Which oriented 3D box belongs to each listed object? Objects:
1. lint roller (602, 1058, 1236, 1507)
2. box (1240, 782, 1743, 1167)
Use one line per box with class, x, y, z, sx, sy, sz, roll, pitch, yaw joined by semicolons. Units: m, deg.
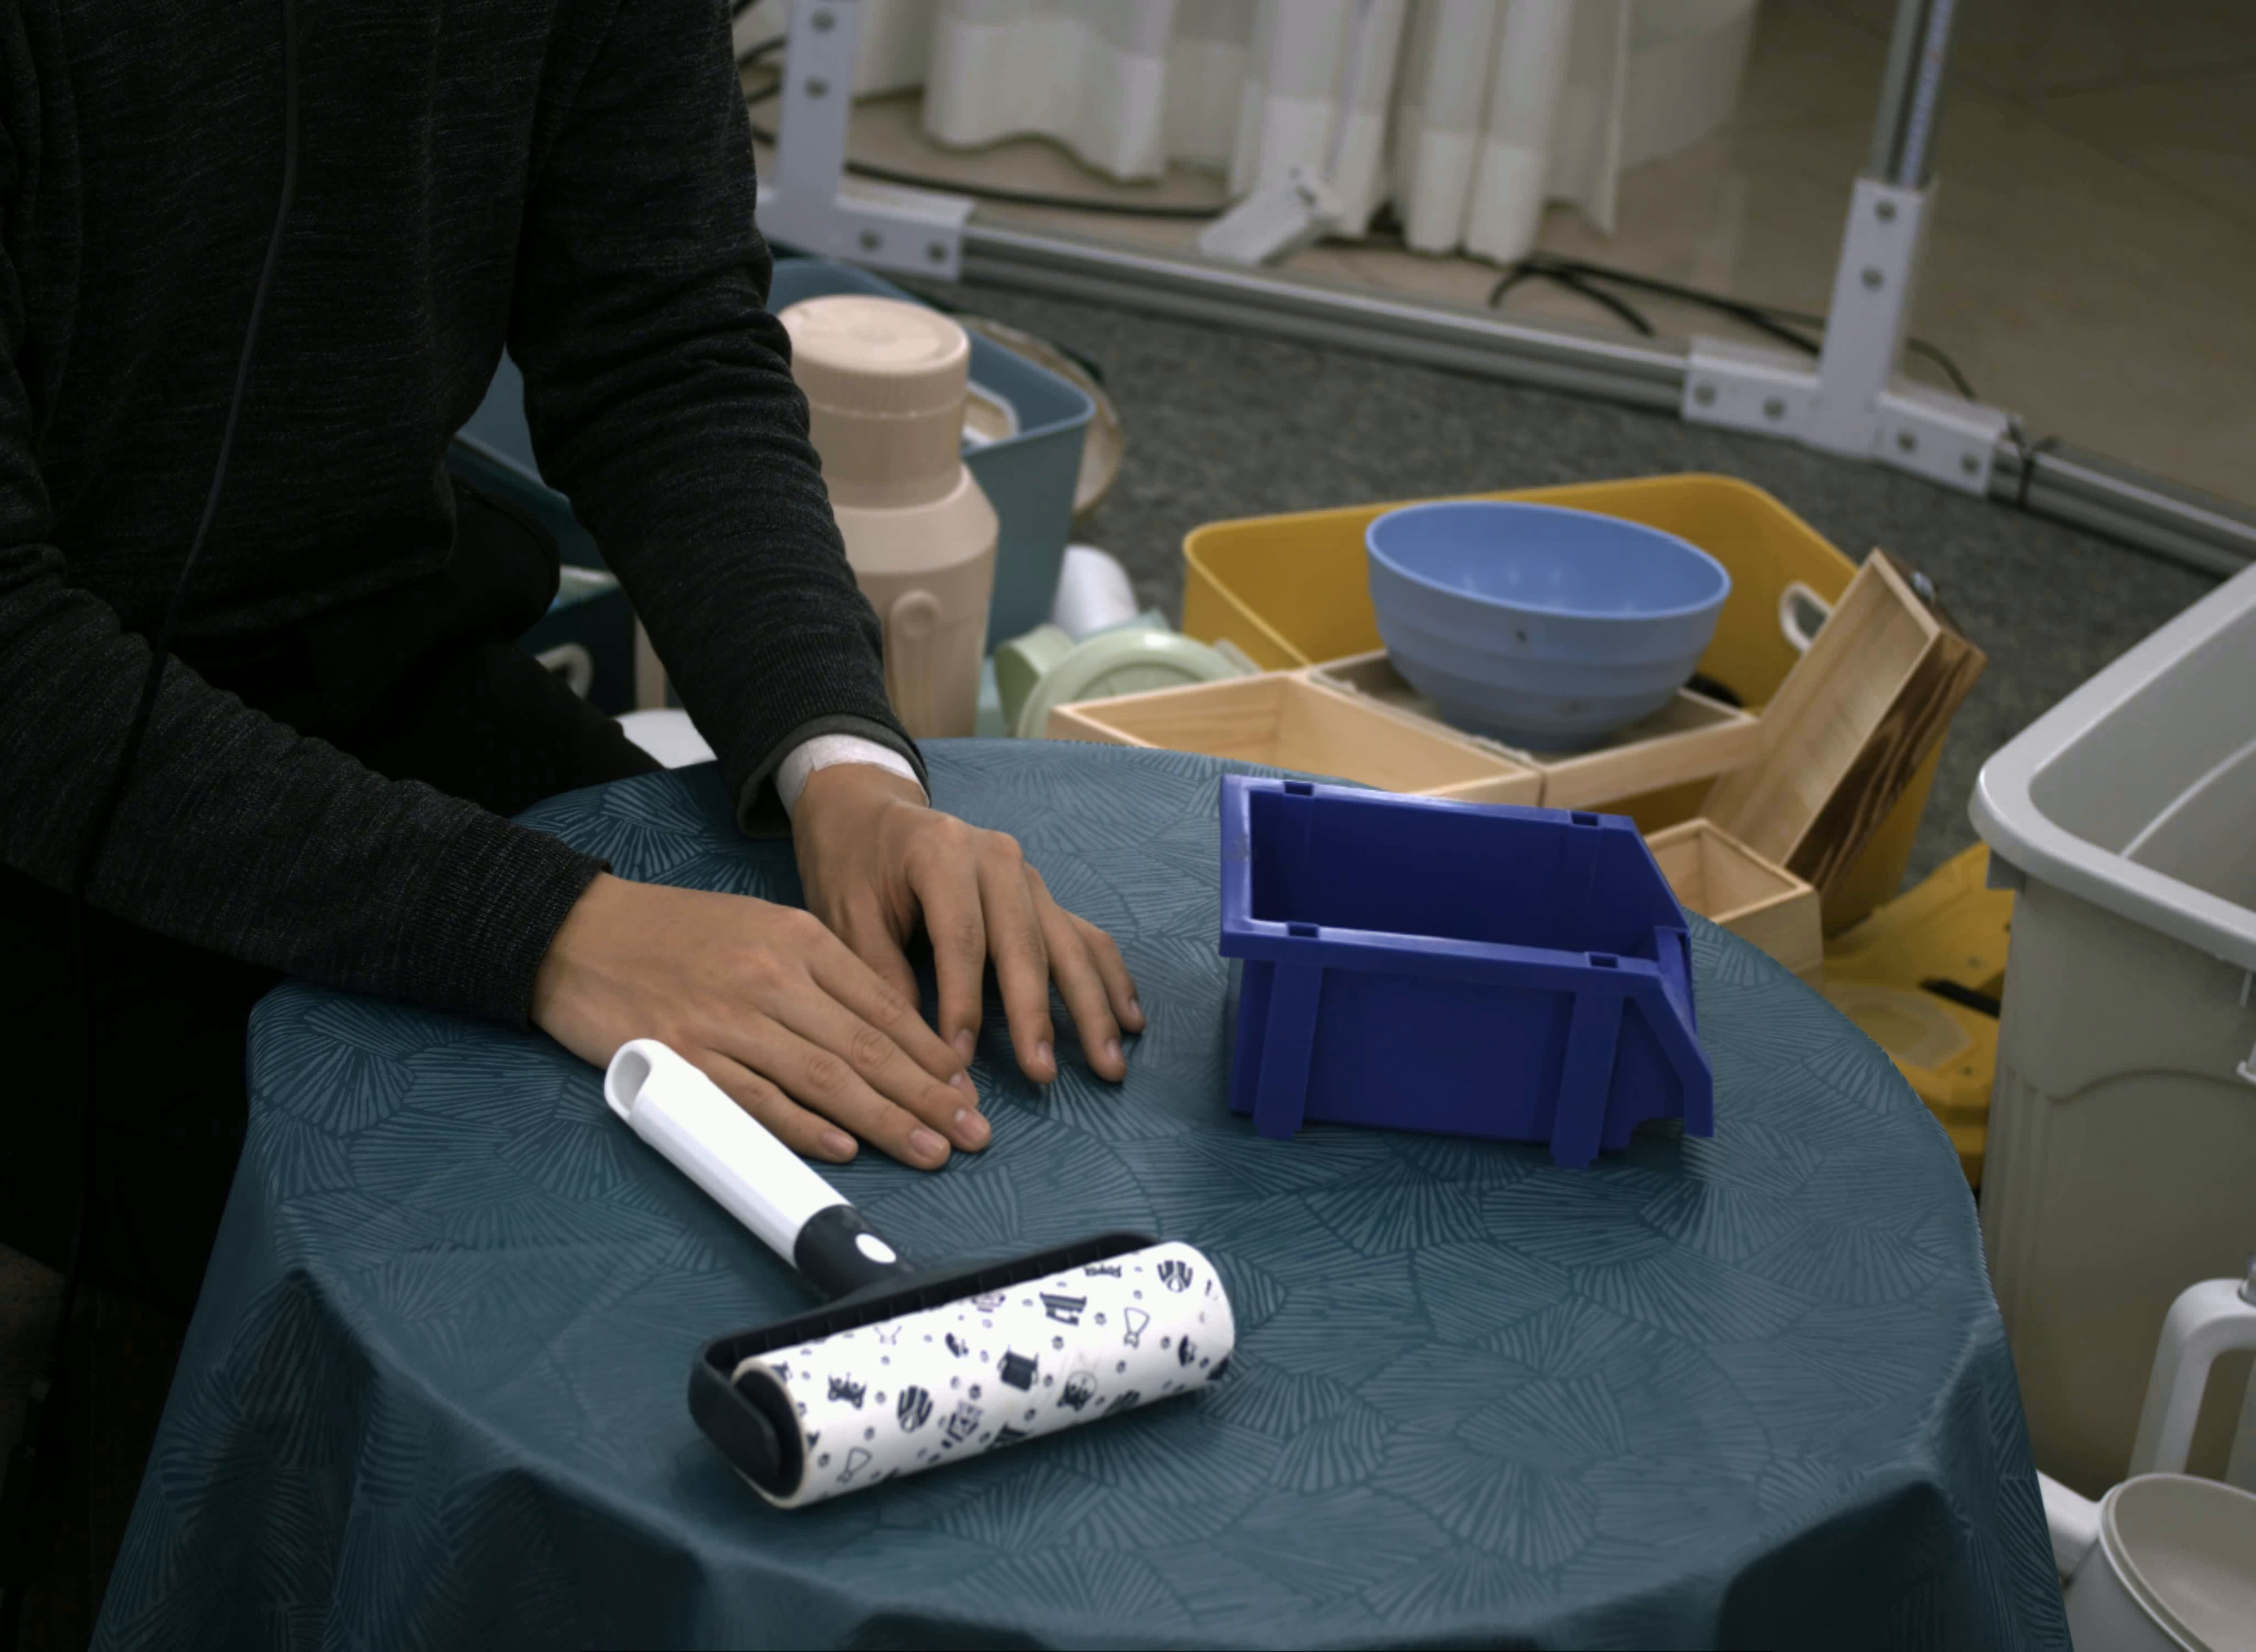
lint roller;-0.104;0.129;1.722;0.175;0.050;0.249;-13;32;-33
box;0.127;0.052;1.881;0.179;0.081;0.125;4;26;1
